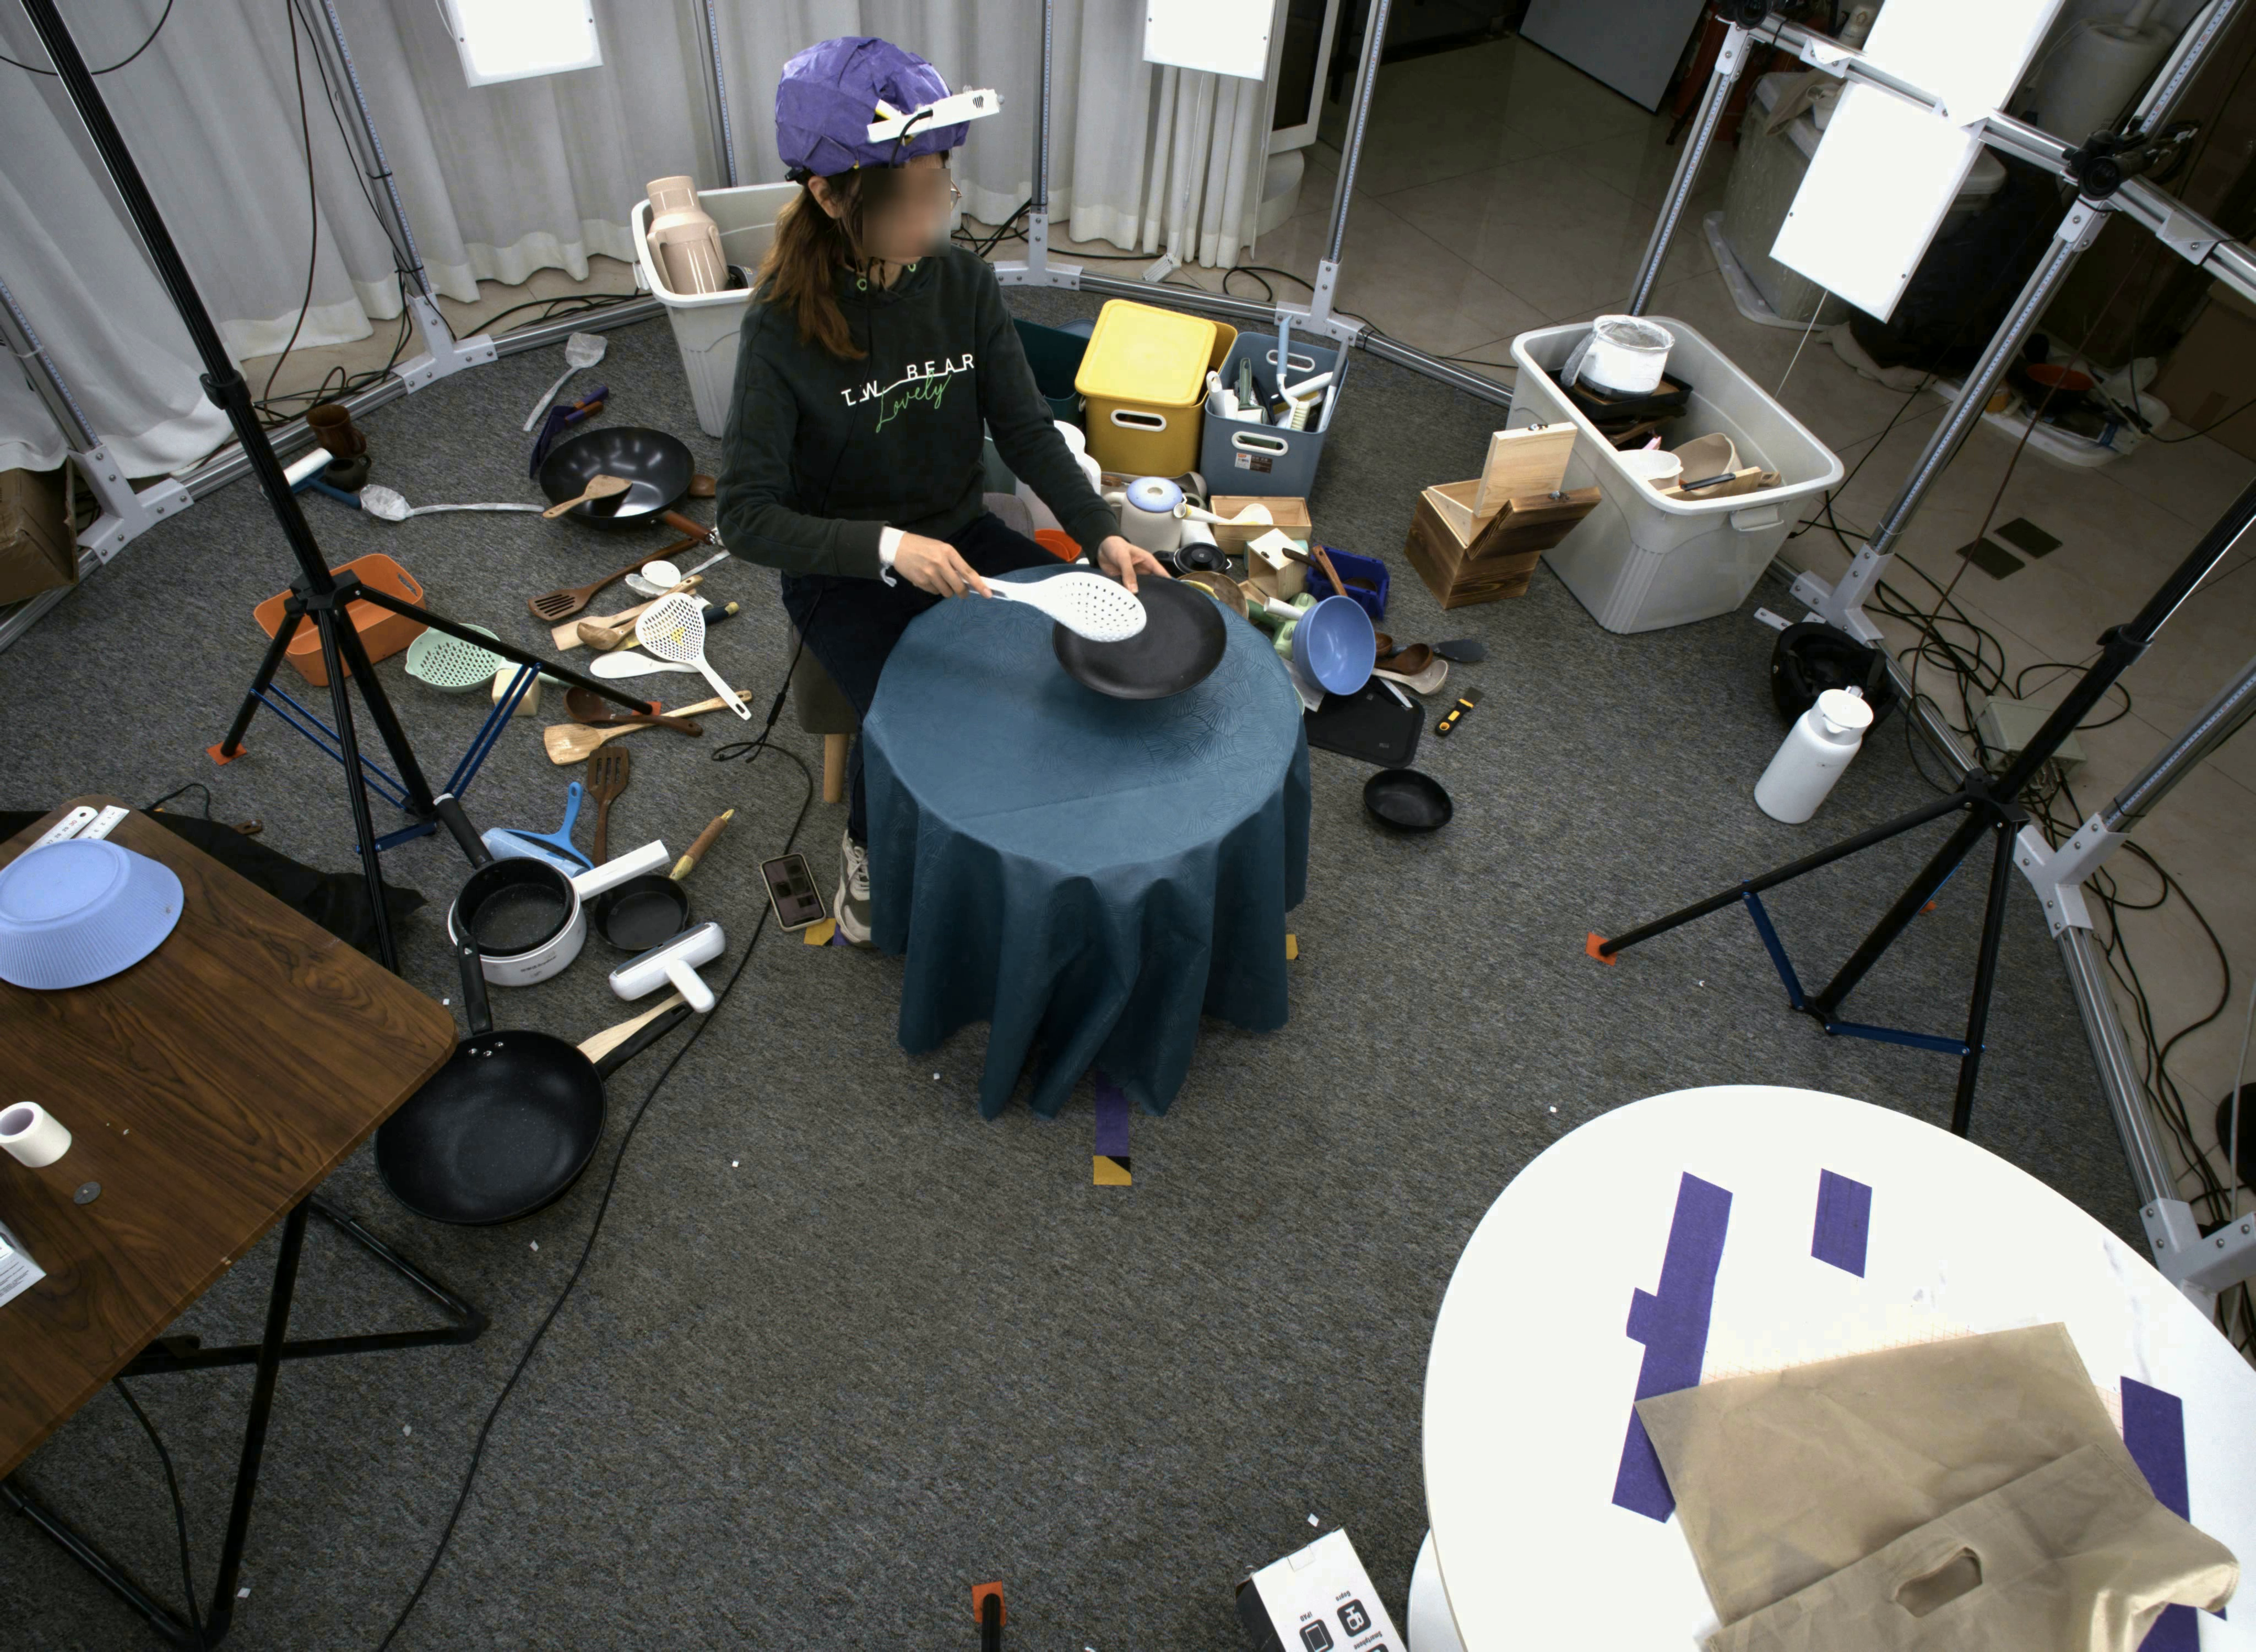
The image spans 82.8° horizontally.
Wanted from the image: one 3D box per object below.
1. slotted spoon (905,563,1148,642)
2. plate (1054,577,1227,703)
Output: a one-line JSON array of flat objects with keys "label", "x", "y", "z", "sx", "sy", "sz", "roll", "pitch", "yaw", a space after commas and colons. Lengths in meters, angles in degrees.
[{"label": "slotted spoon", "x": -0.142, "y": -0.313, "z": 1.744, "sx": 0.352, "sy": 0.133, "sz": 0.046, "roll": 18, "pitch": 64, "yaw": 18}, {"label": "plate", "x": 0.017, "y": -0.261, "z": 1.813, "sx": 0.244, "sy": 0.023, "sz": 0.250, "roll": 0, "pitch": 52, "yaw": 0}]
